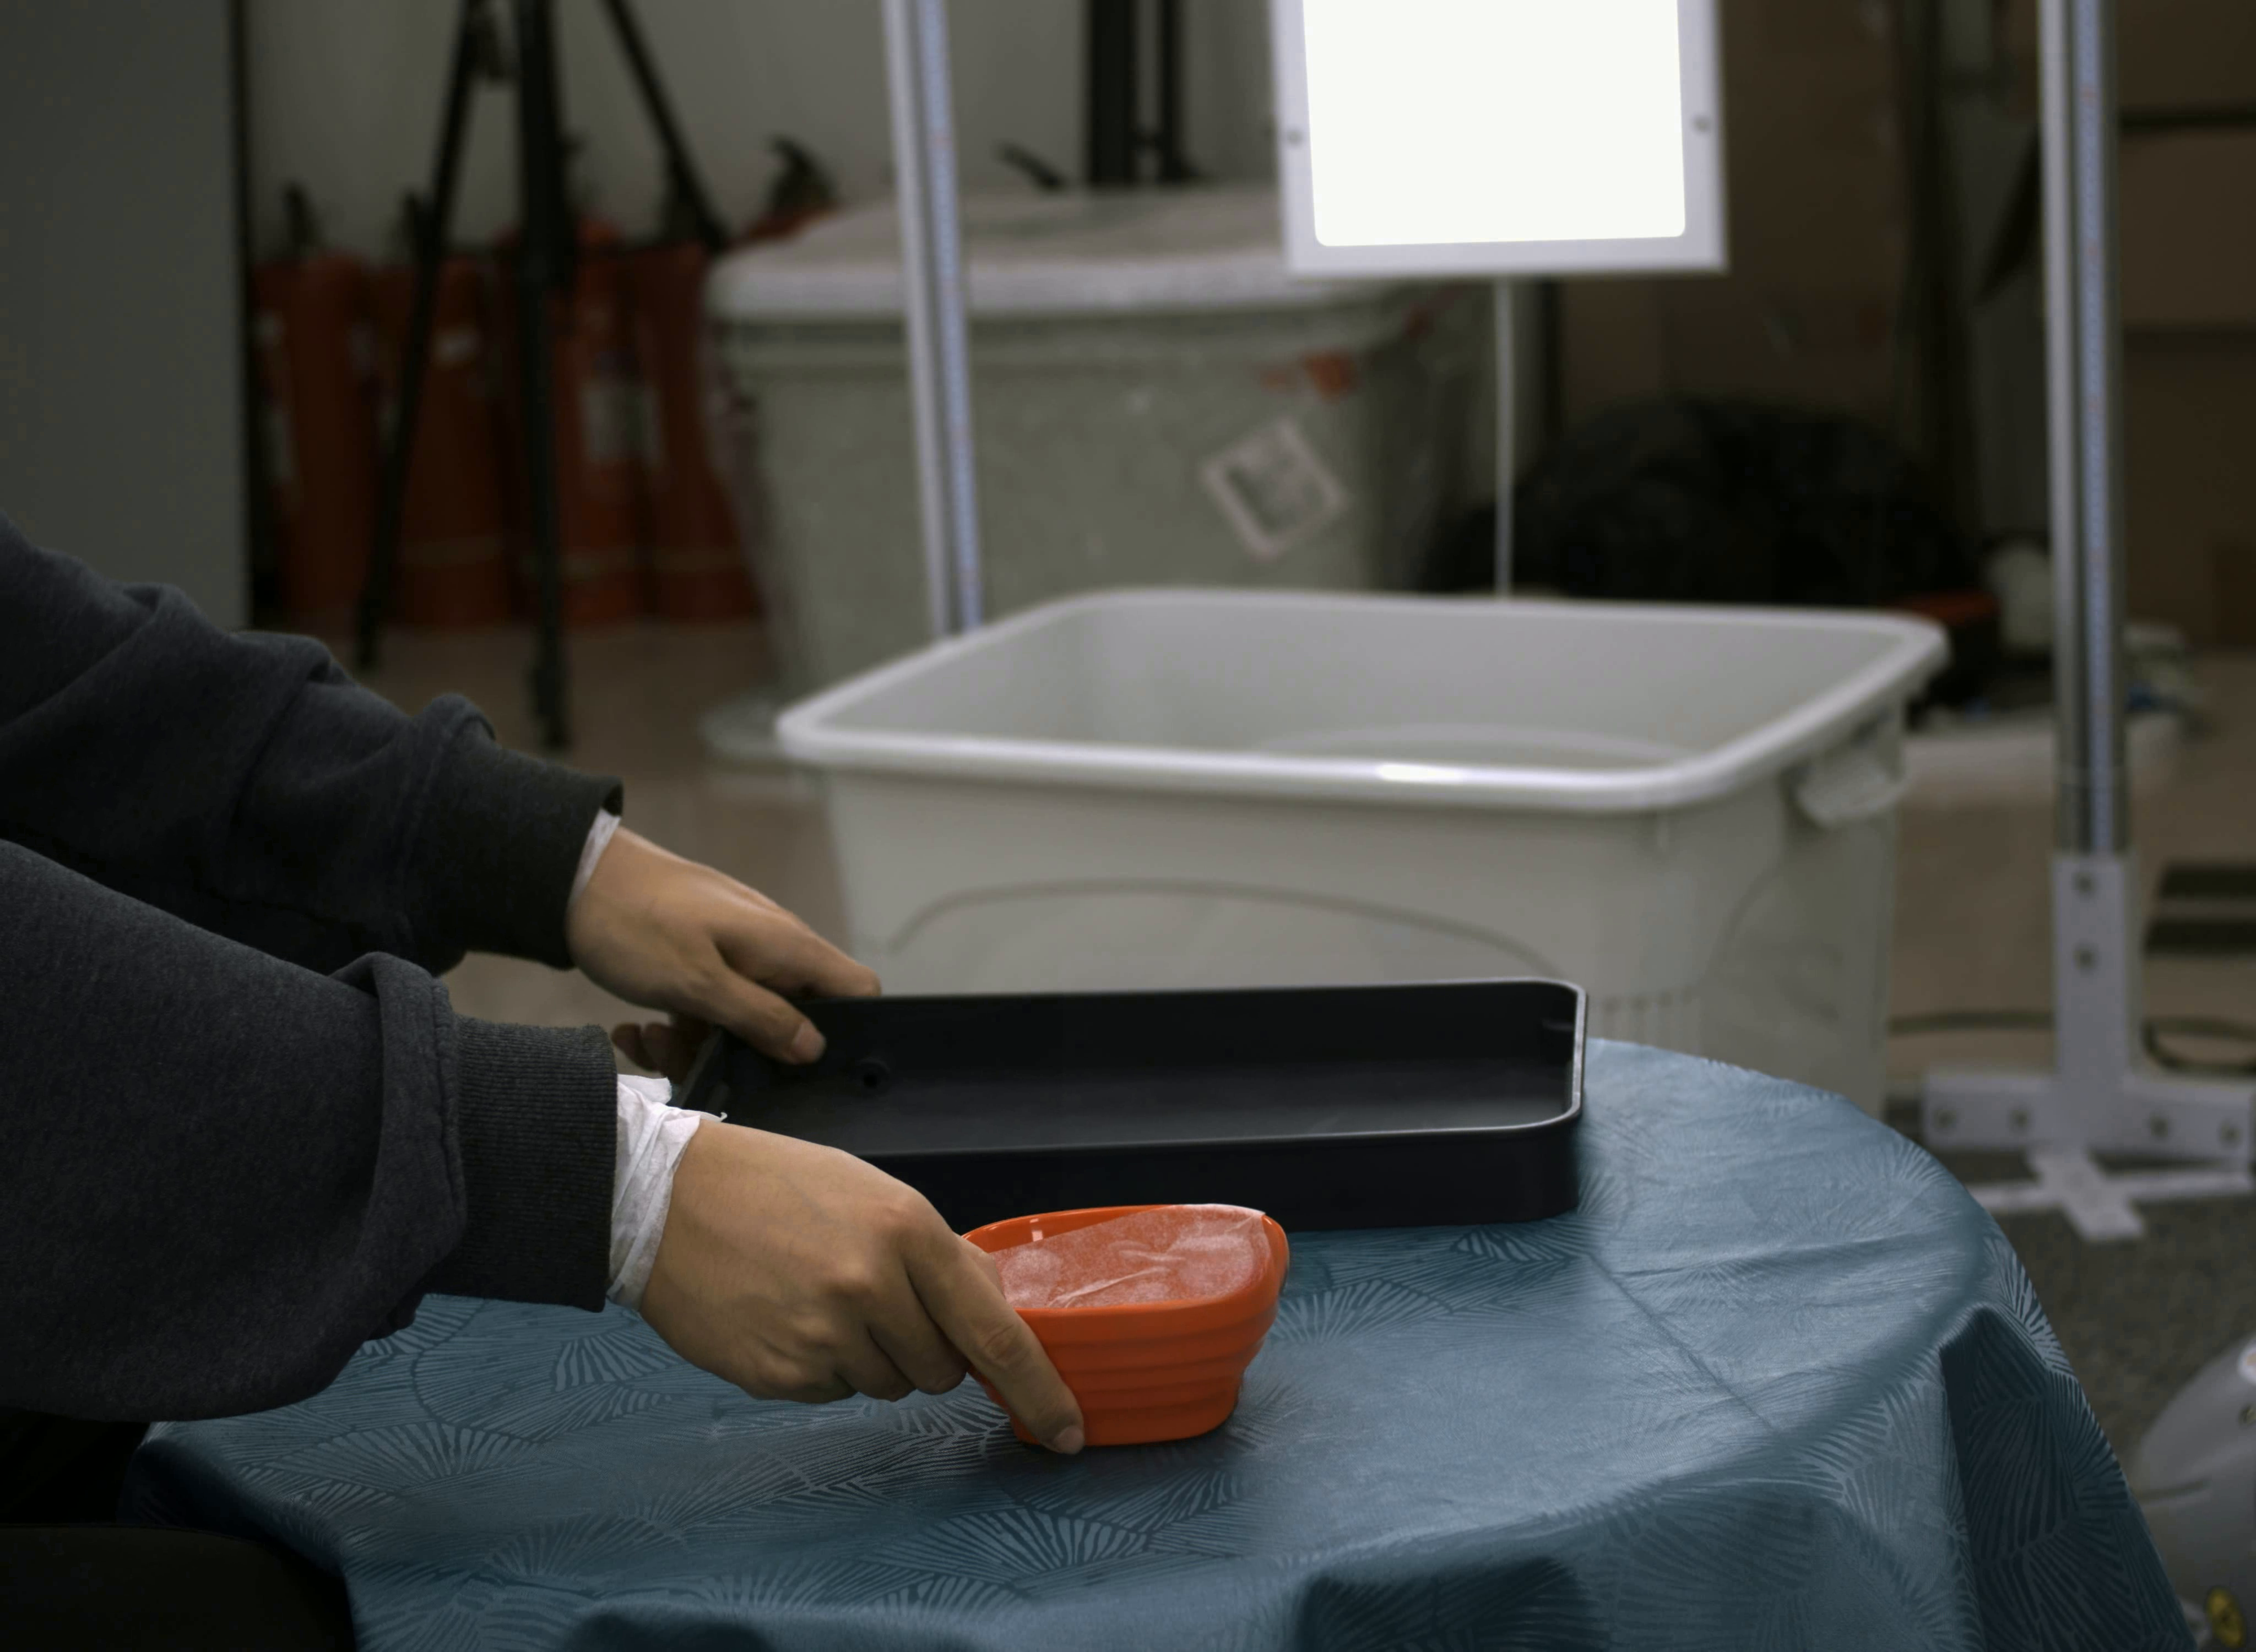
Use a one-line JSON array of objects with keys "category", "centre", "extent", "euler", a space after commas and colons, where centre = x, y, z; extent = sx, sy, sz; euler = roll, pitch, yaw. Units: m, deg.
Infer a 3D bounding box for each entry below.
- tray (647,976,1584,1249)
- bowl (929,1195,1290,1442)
[{"category": "tray", "centre": [0.001, 0.099, 1.928], "extent": [0.319, 0.037, 0.183], "euler": [-2, 15, 8]}, {"category": "bowl", "centre": [-0.004, 0.152, 1.675], "extent": [0.118, 0.051, 0.119], "euler": [-4, 13, 0]}]
